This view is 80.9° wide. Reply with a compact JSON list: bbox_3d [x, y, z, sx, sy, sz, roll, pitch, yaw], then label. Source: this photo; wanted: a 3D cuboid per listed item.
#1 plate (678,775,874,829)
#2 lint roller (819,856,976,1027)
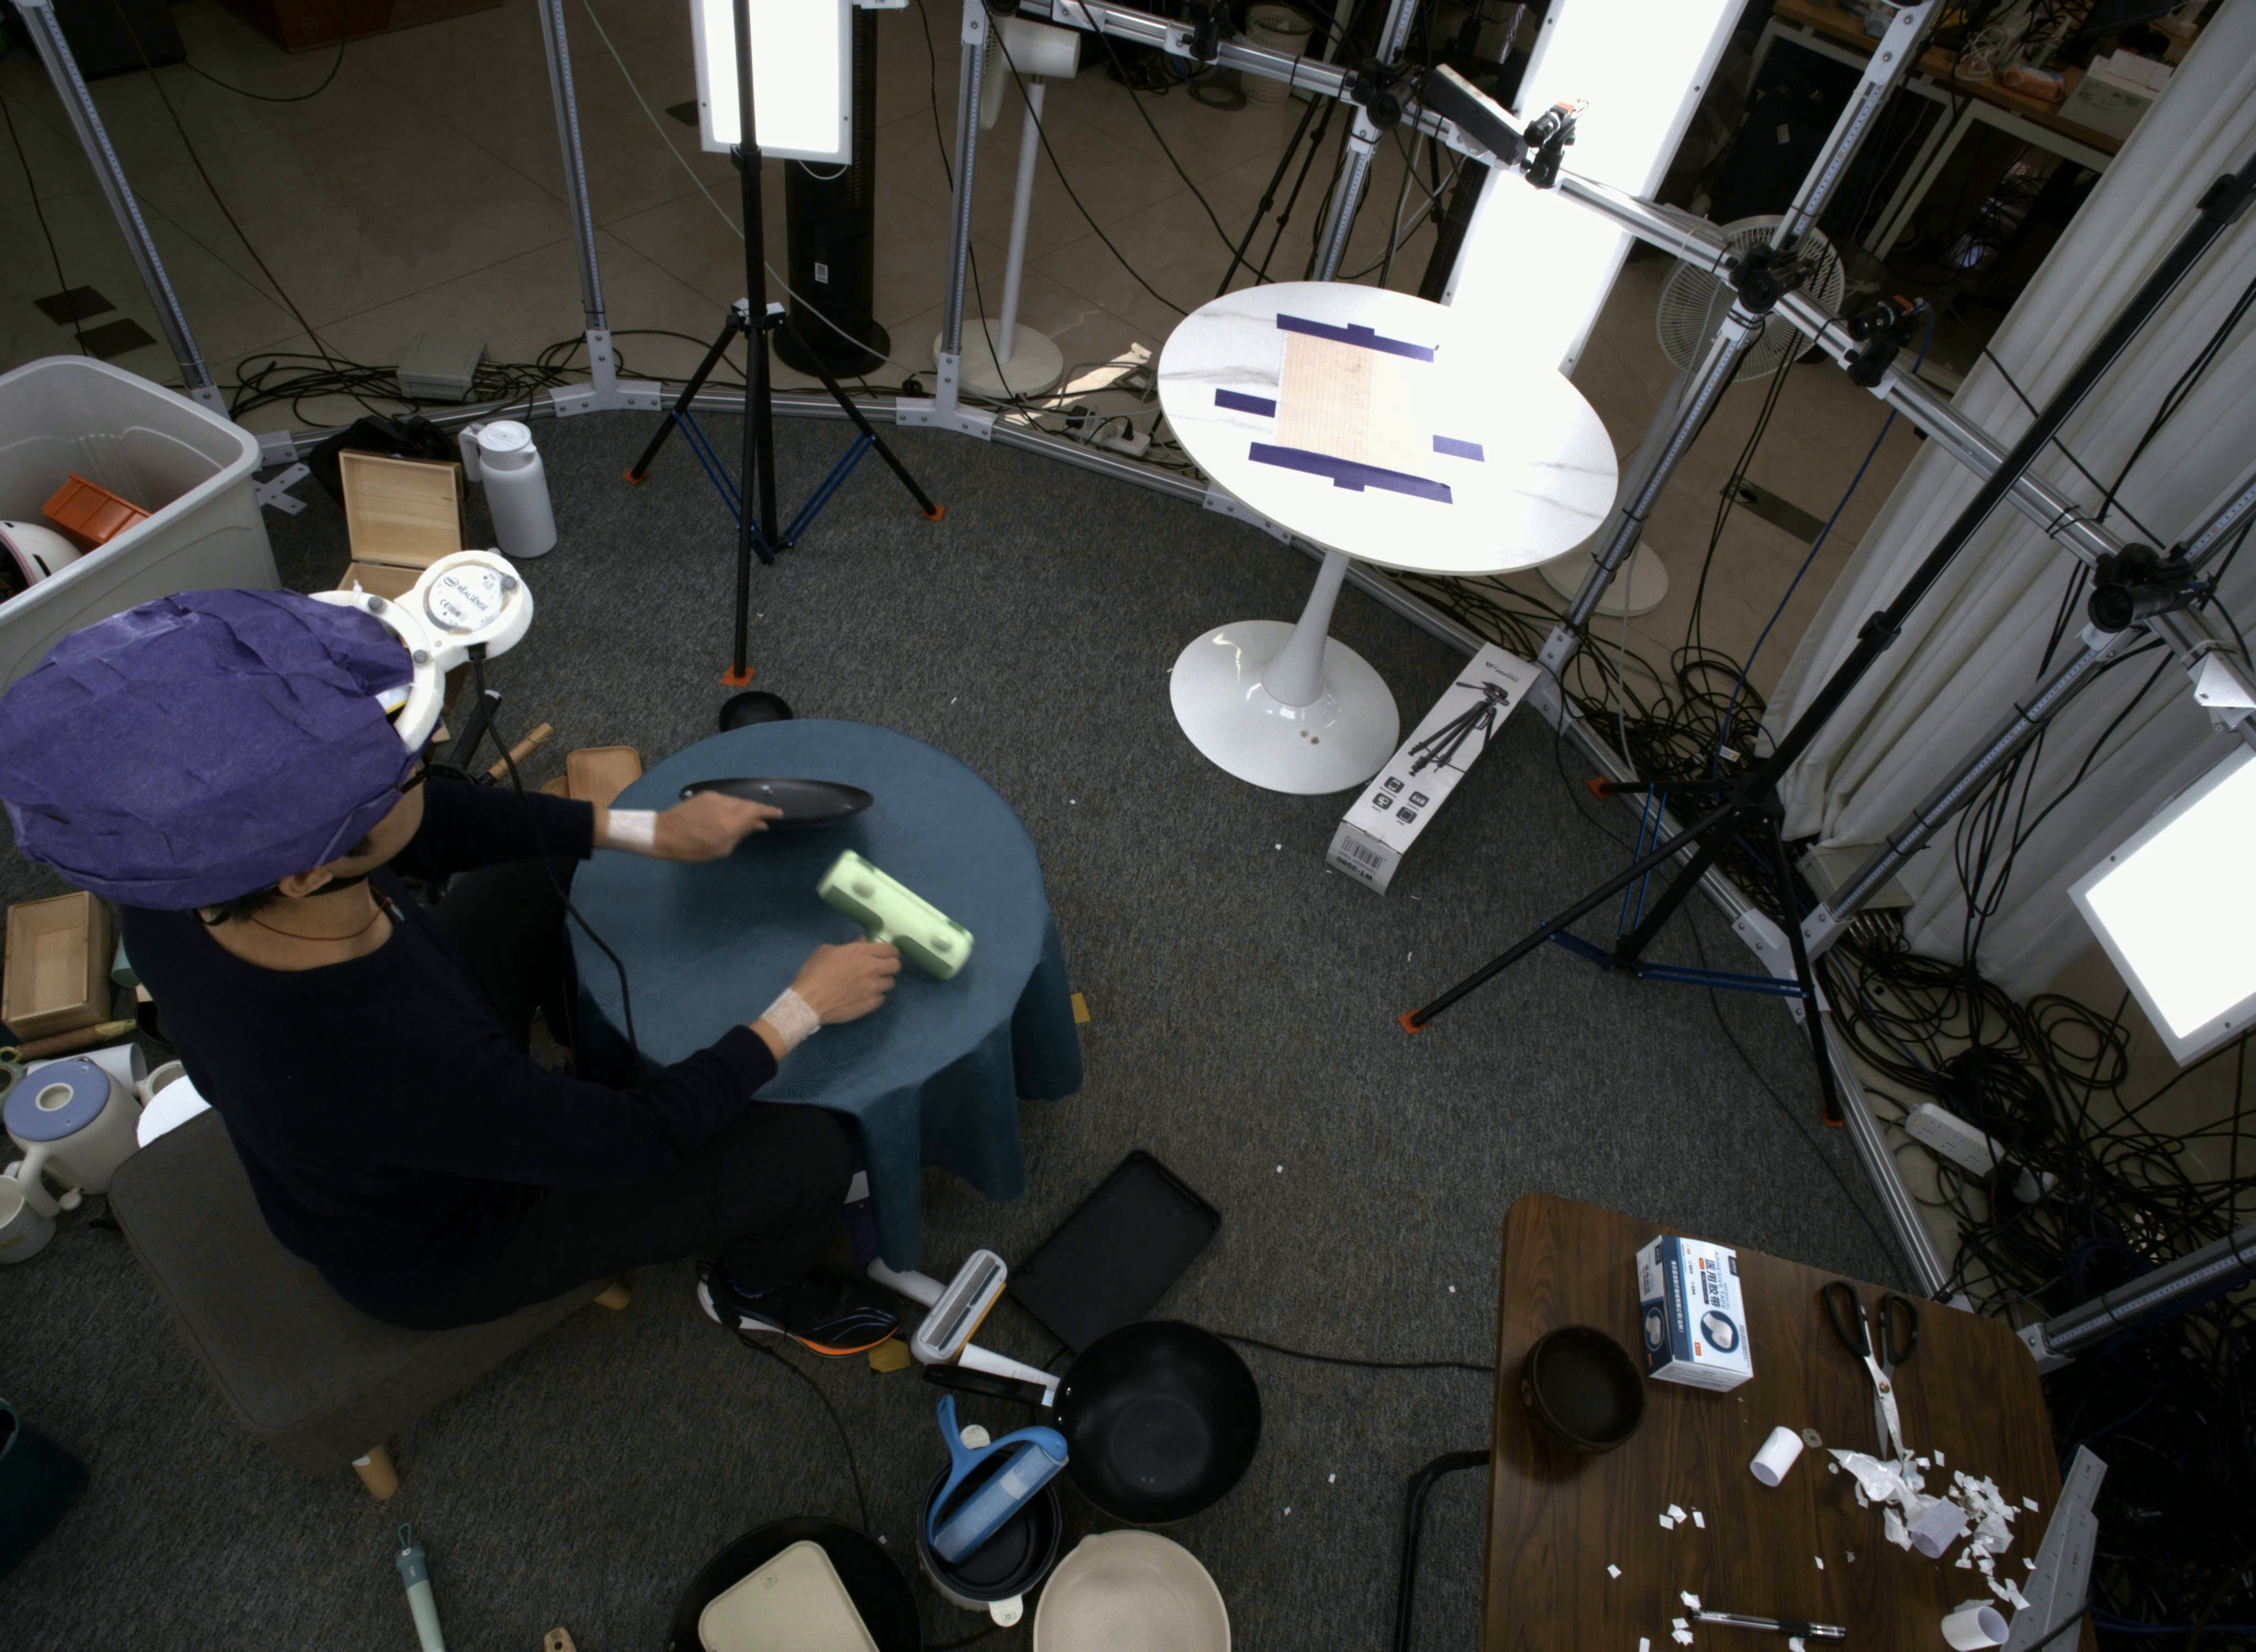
[{"bbox_3d":[-0.446,-0.030,1.642,0.242,0.024,0.241,5,13,0],"label":"plate"},{"bbox_3d":[-0.292,0.150,1.542,0.201,0.082,0.181,35,47,-15],"label":"lint roller"}]
